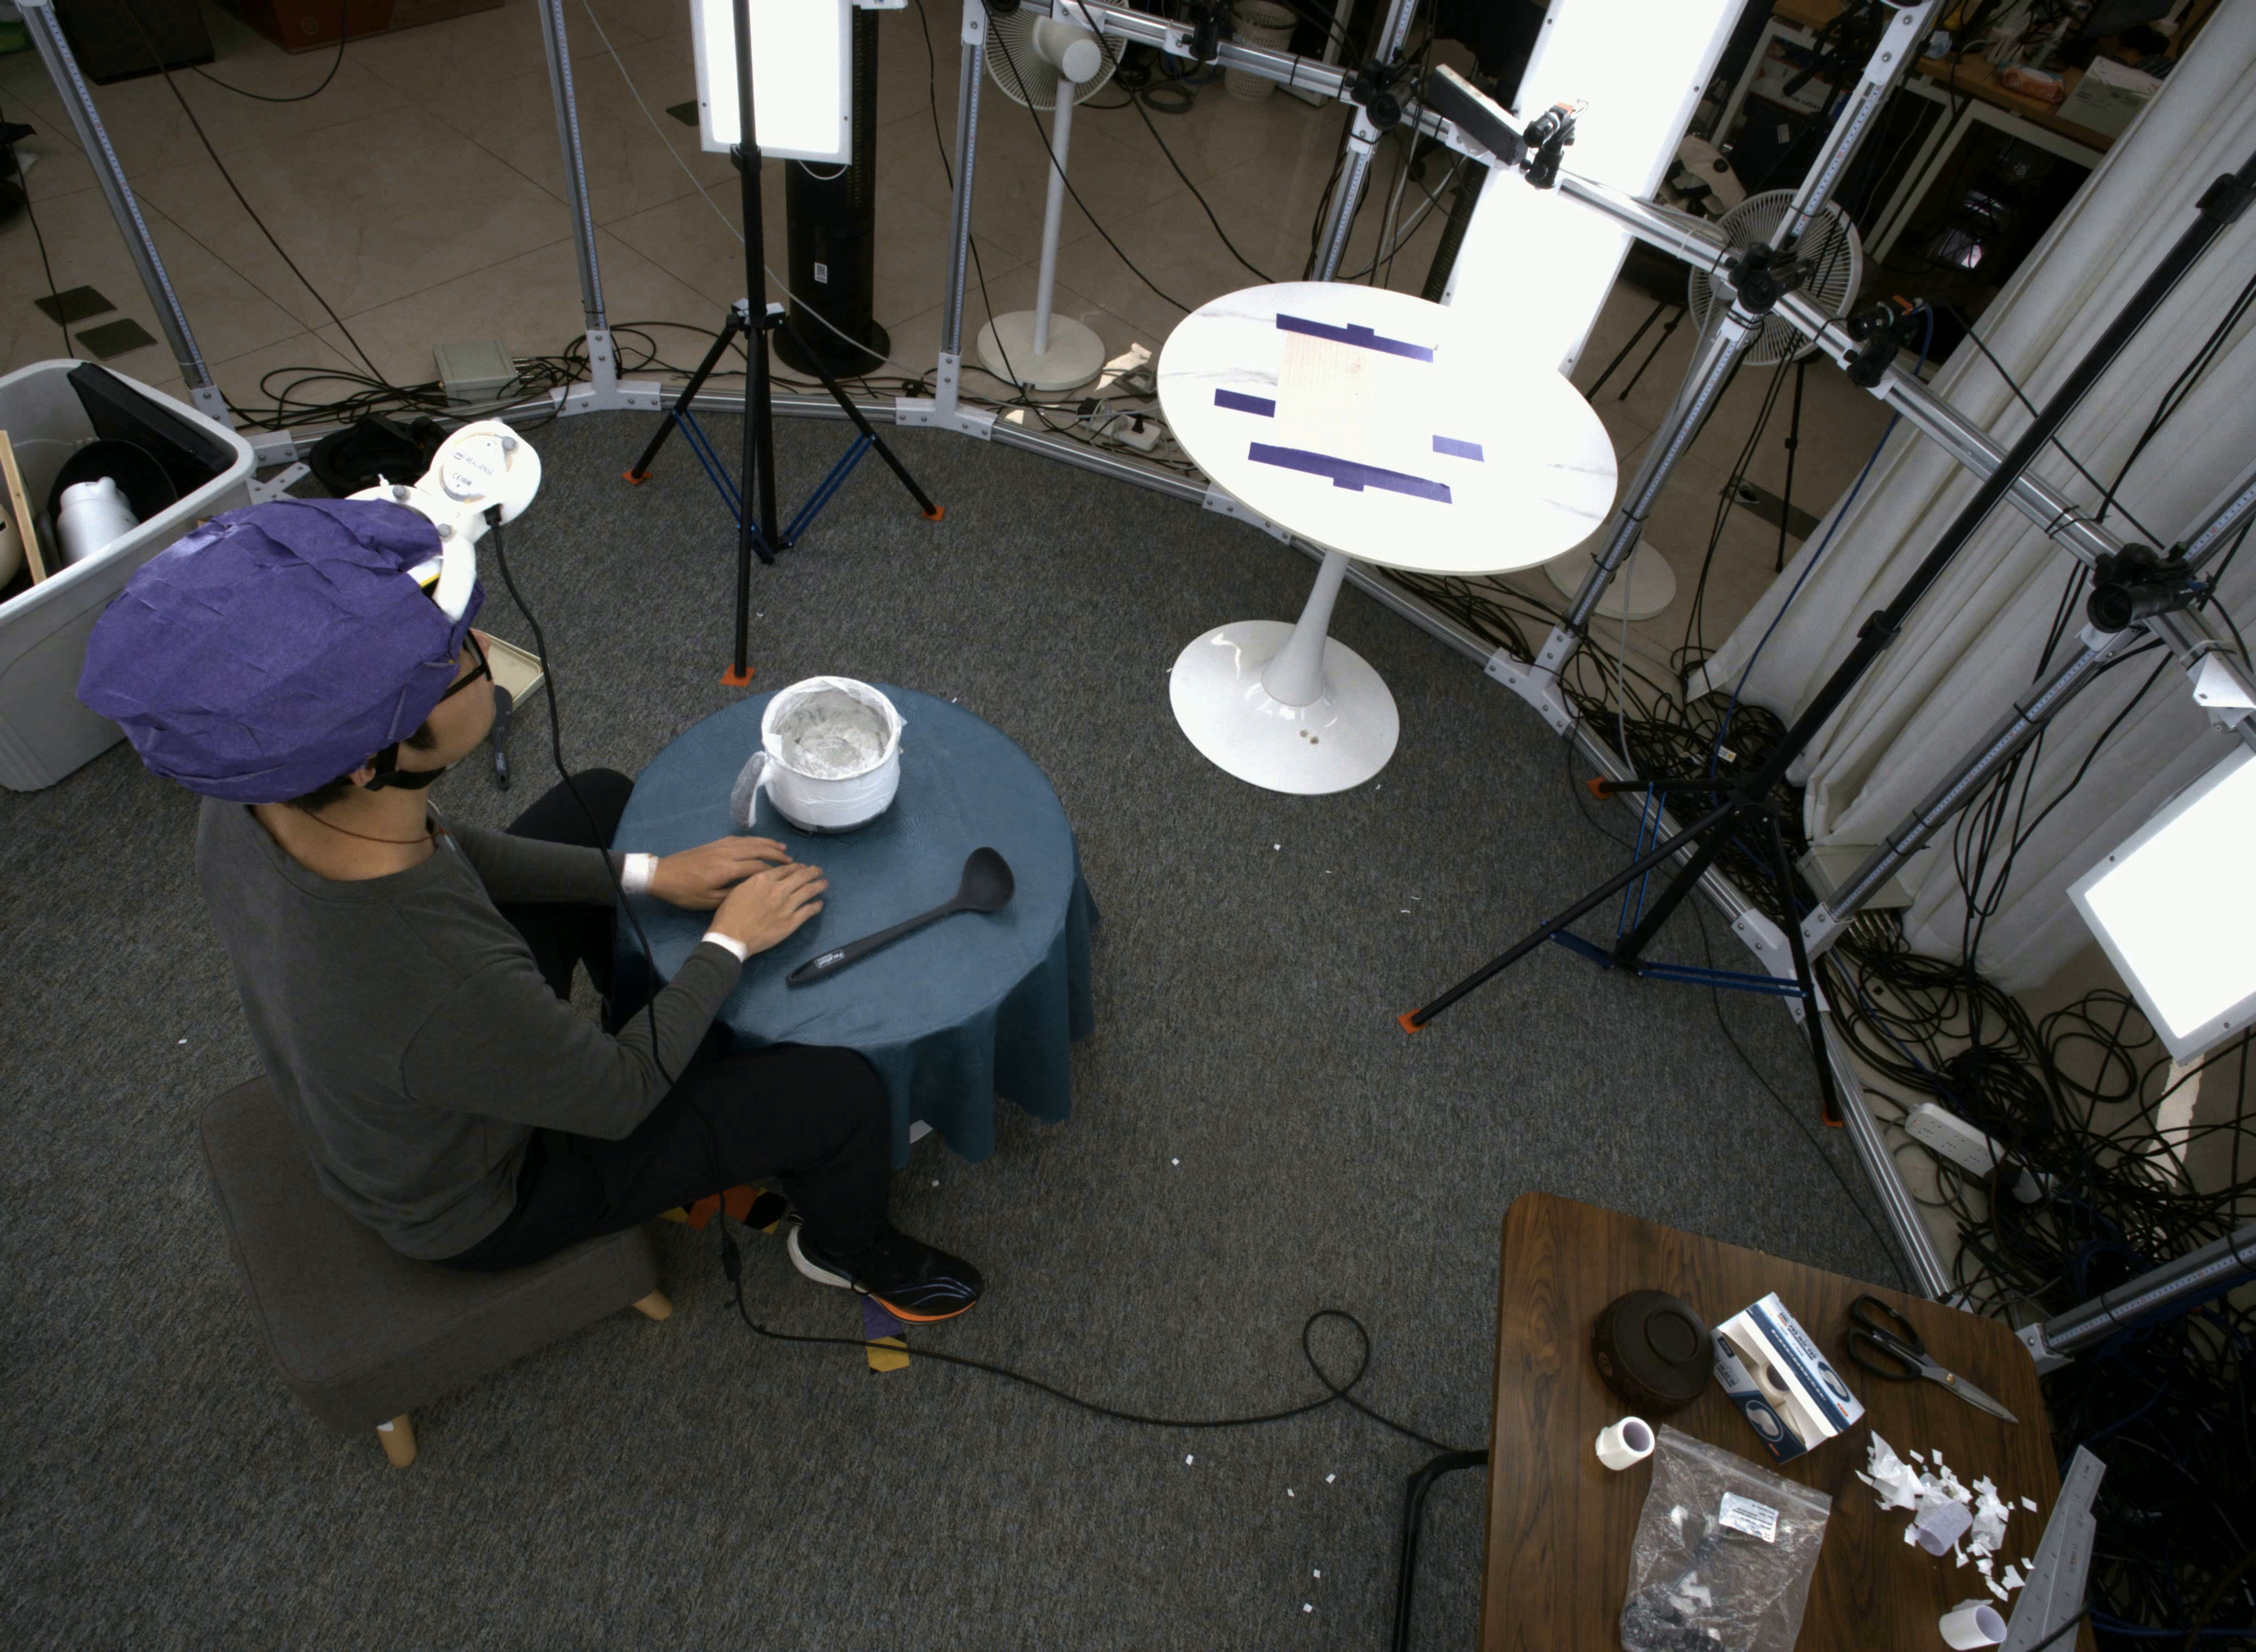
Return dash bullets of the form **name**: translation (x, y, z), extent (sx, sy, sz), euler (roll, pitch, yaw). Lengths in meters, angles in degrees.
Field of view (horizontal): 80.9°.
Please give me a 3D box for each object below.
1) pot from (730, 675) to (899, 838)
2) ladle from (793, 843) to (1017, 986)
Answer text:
- **pot**: translation (-0.416, -0.079, 1.707), extent (0.234, 0.139, 0.174), euler (-30, 64, -30)
- **ladle**: translation (-0.282, 0.116, 1.645), extent (0.315, 0.065, 0.084), euler (-25, 62, -29)
